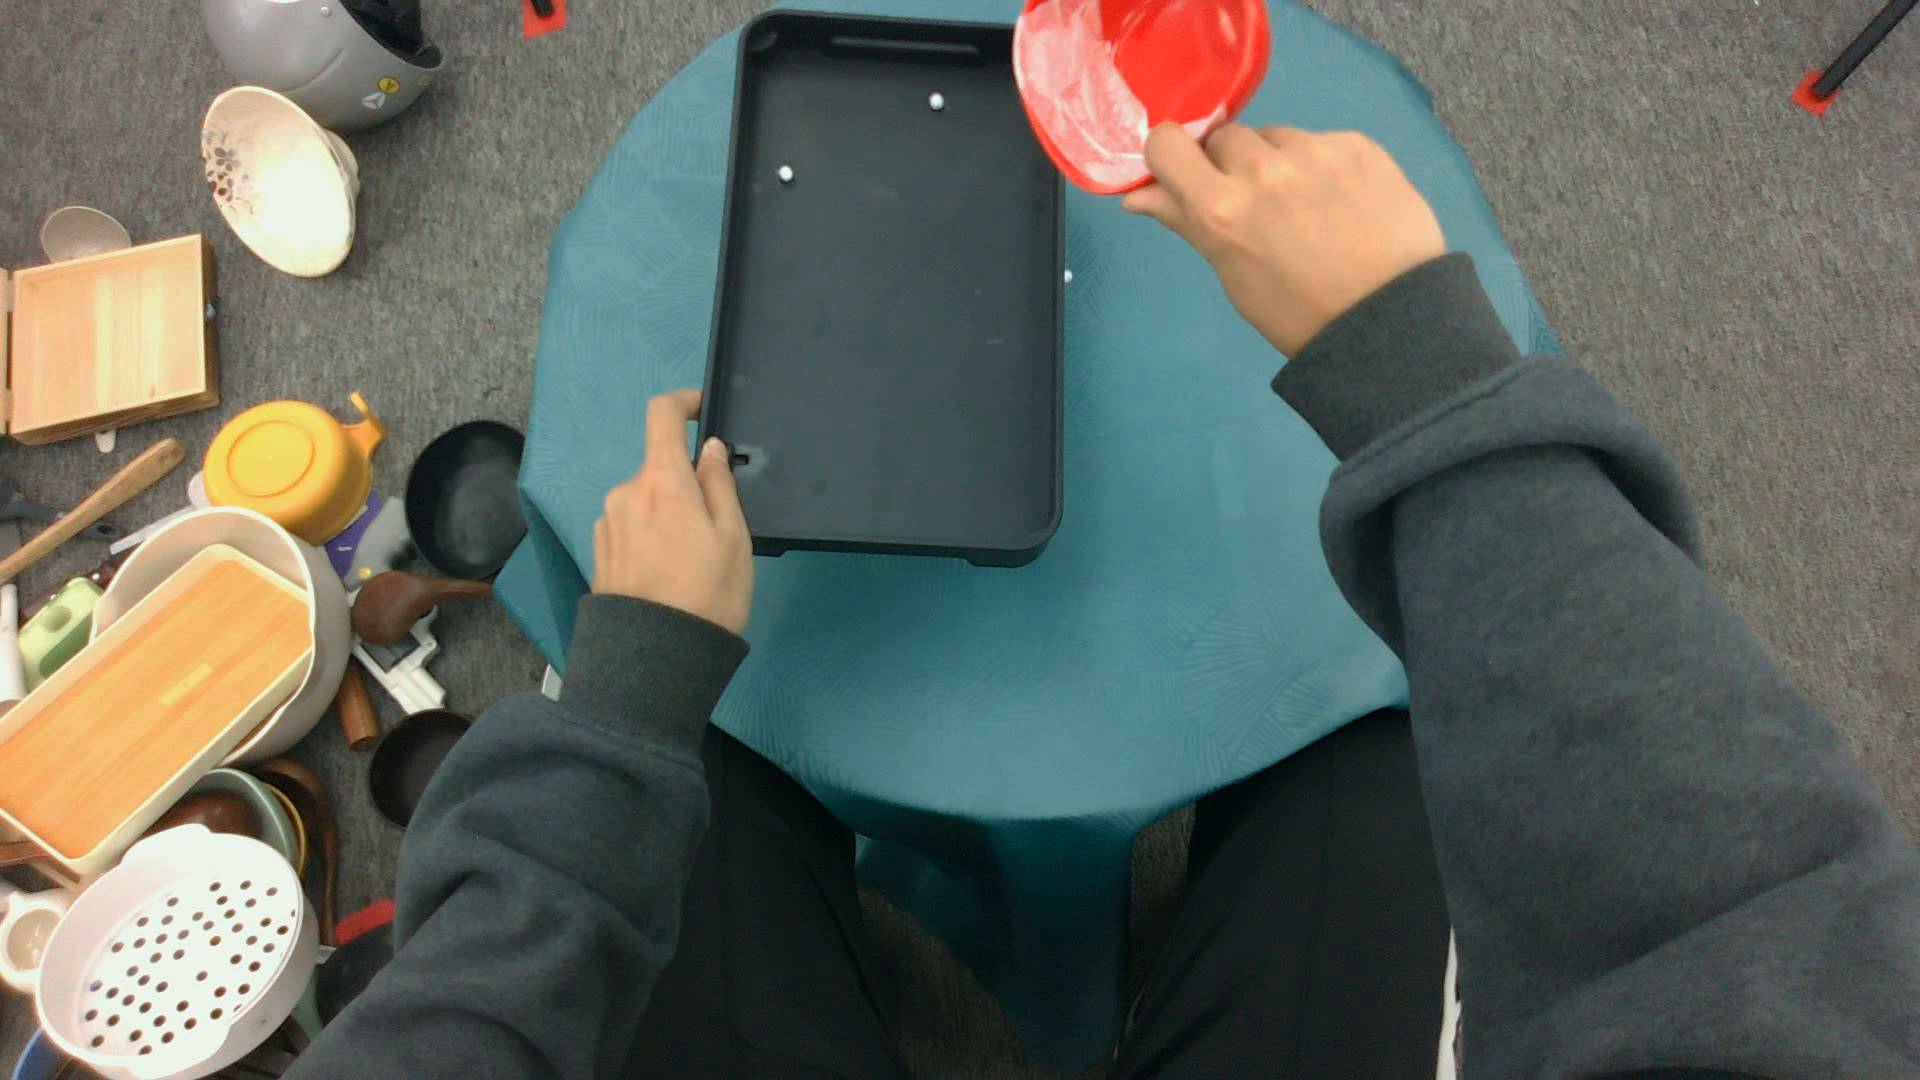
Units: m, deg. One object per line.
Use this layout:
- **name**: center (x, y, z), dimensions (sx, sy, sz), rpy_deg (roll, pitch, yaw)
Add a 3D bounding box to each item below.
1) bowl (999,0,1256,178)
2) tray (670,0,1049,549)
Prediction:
- **bowl**: center (0.078, -0.209, 0.583), dimensions (0.118, 0.051, 0.119), rpy_deg (-1, 88, 37)
- **tray**: center (-0.047, -0.149, 0.734), dimensions (0.184, 0.037, 0.319), rpy_deg (2, 68, -3)
